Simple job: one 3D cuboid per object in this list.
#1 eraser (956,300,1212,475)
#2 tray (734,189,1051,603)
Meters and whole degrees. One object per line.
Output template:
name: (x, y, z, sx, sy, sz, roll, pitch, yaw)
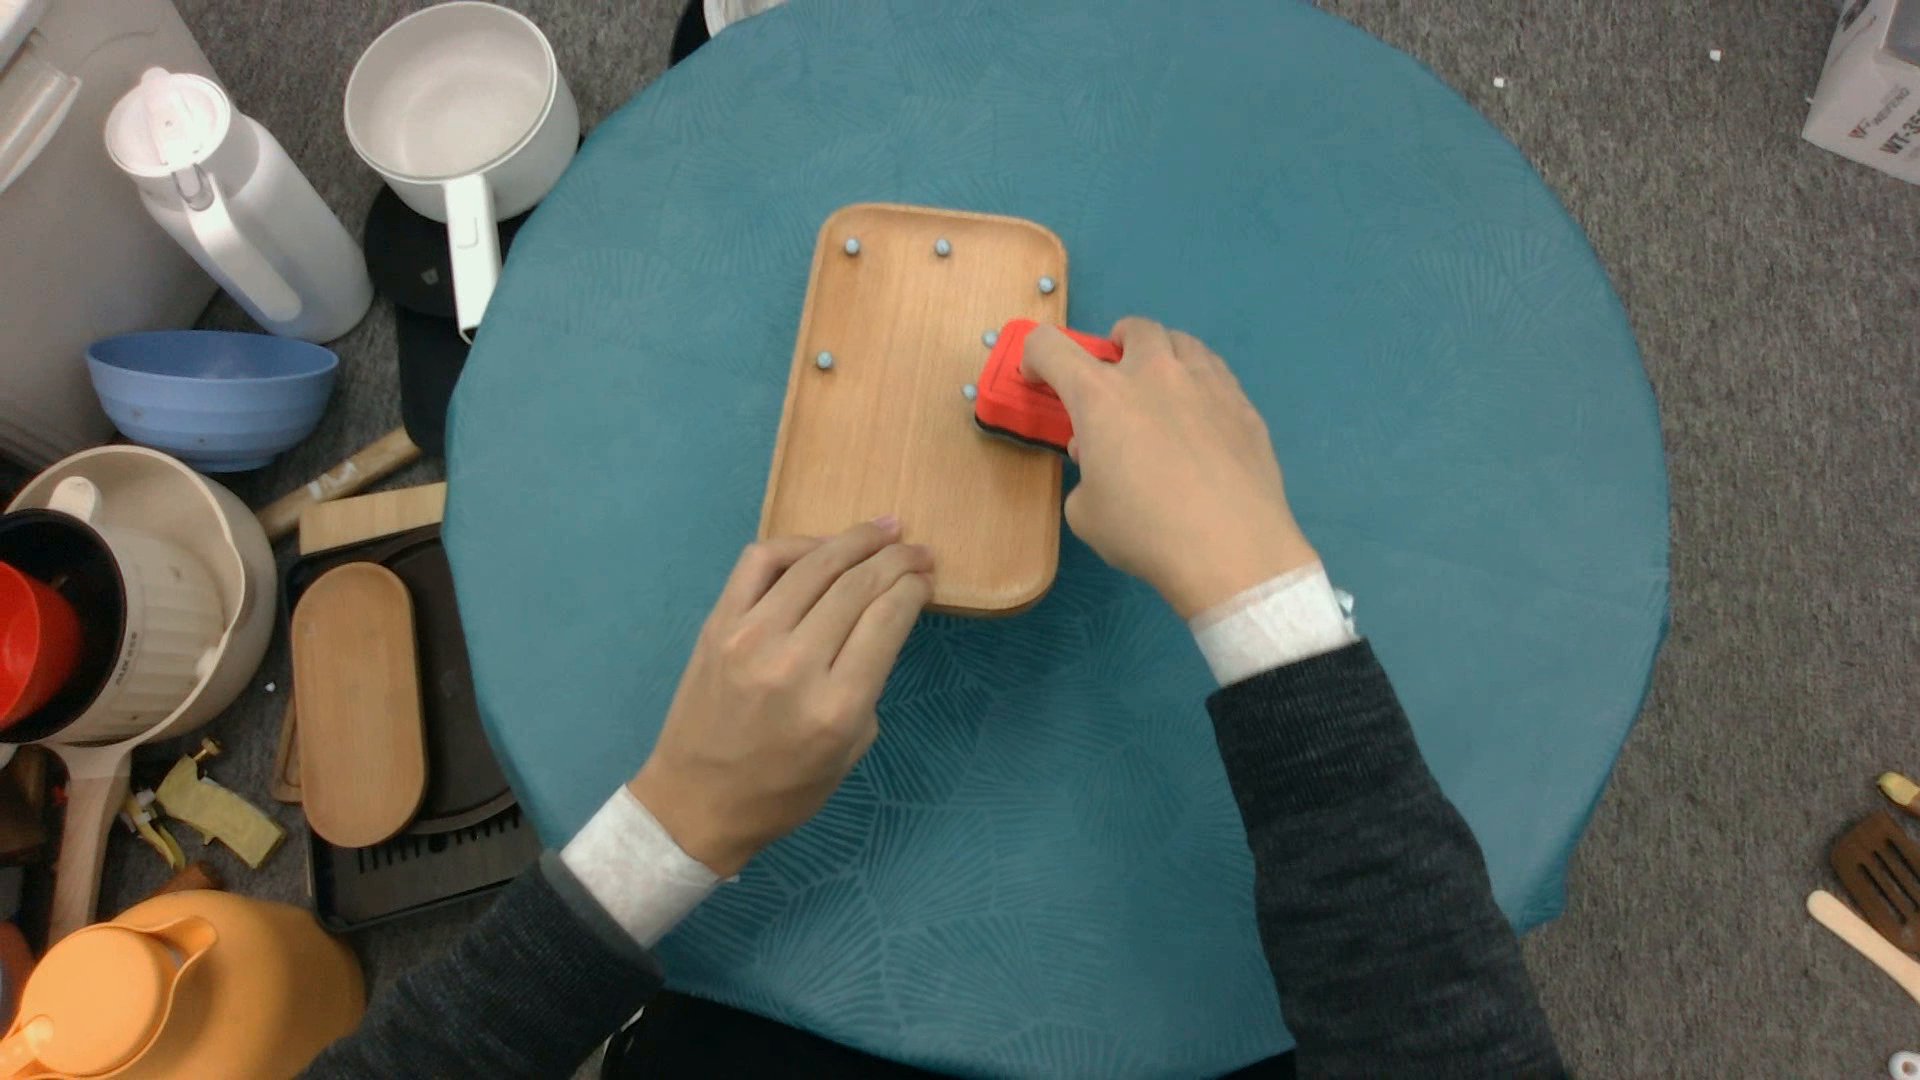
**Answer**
eraser: (0.055, -0.069, 0.619, 0.108, 0.023, 0.059, 17, 55, 8)
tray: (-0.024, -0.076, 0.638, 0.130, 0.023, 0.252, 5, 52, 0)
